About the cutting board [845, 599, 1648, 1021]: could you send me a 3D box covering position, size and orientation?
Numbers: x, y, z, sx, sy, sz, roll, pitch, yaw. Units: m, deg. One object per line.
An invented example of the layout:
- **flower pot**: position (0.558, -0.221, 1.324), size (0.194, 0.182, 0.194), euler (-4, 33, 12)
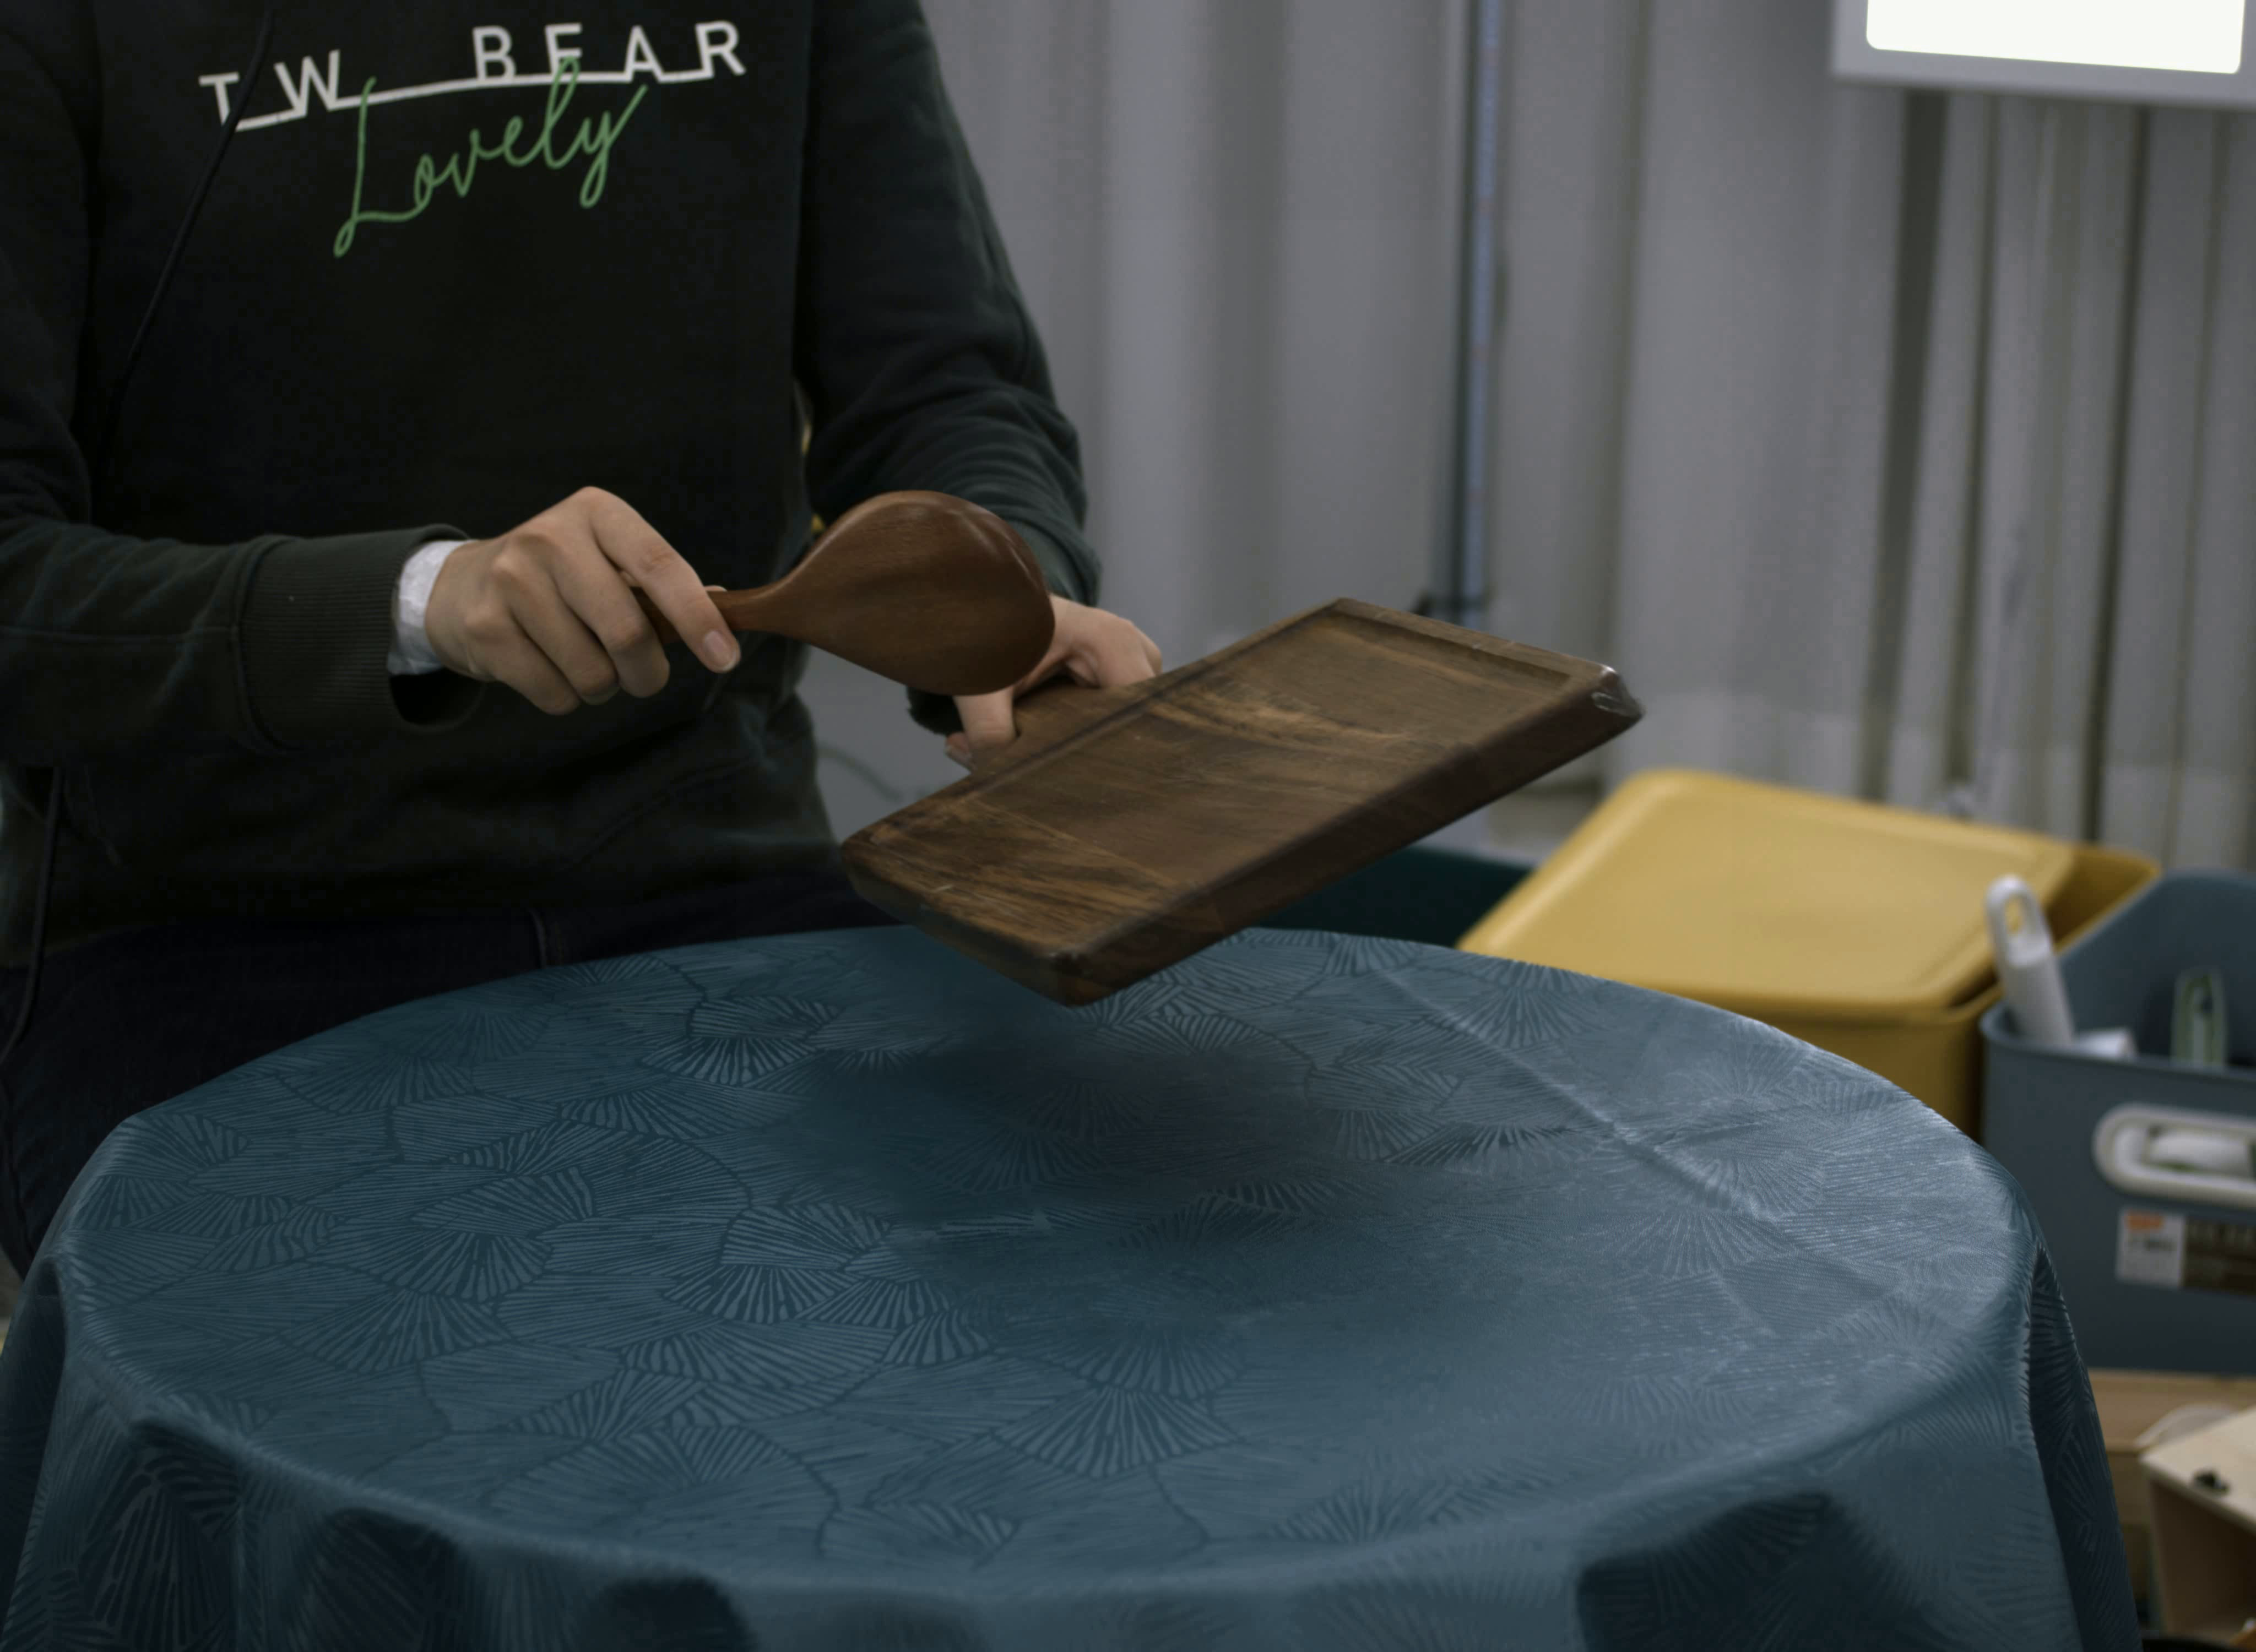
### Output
- **cutting board**: position (0.015, -0.017, 1.700), size (0.201, 0.023, 0.349), euler (-28, 15, -13)

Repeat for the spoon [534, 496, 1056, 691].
- **spoon**: position (-0.114, -0.071, 1.720), size (0.213, 0.076, 0.017), euler (-1, 37, 37)
